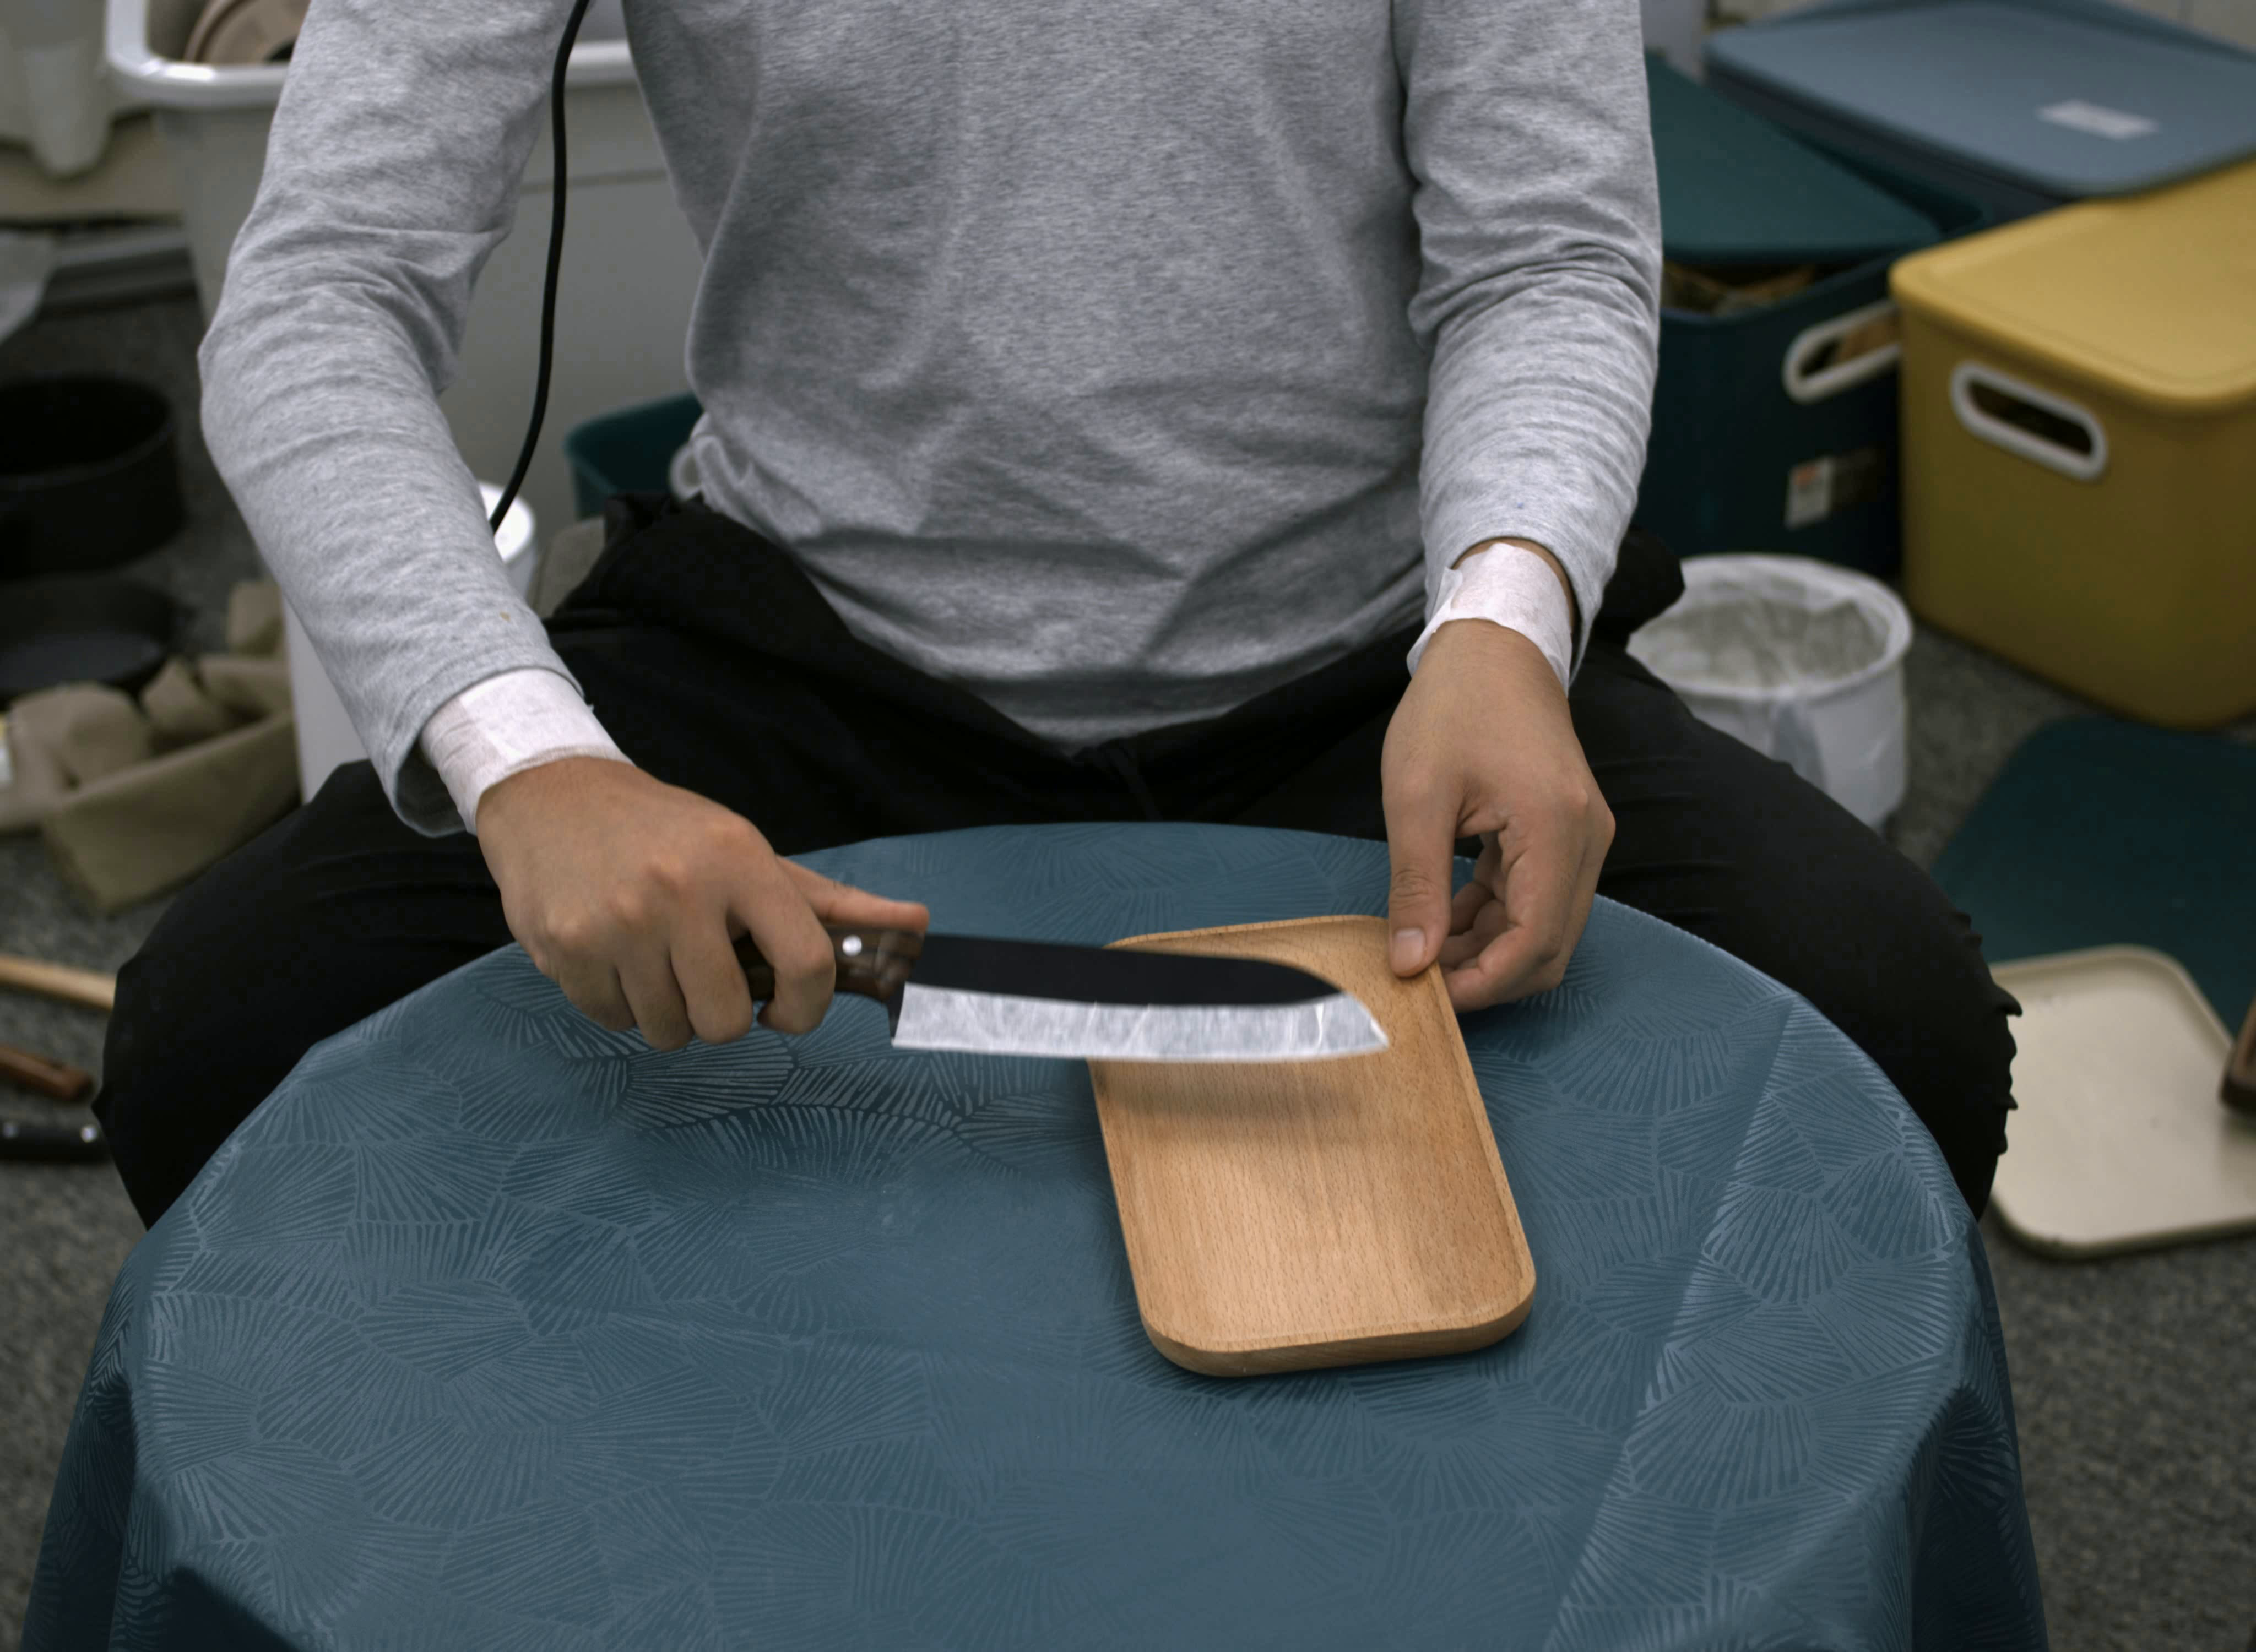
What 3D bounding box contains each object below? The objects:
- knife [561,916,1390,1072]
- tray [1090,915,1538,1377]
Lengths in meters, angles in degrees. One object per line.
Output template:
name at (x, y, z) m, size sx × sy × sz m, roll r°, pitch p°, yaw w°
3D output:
knife at (-0.053, 0.057, 1.885) m, size 0.287 × 0.020 × 0.051 m, roll 6°, pitch 59°, yaw 11°
tray at (0.056, 0.103, 1.863) m, size 0.130 × 0.022 × 0.254 m, roll -3°, pitch 29°, yaw -5°
